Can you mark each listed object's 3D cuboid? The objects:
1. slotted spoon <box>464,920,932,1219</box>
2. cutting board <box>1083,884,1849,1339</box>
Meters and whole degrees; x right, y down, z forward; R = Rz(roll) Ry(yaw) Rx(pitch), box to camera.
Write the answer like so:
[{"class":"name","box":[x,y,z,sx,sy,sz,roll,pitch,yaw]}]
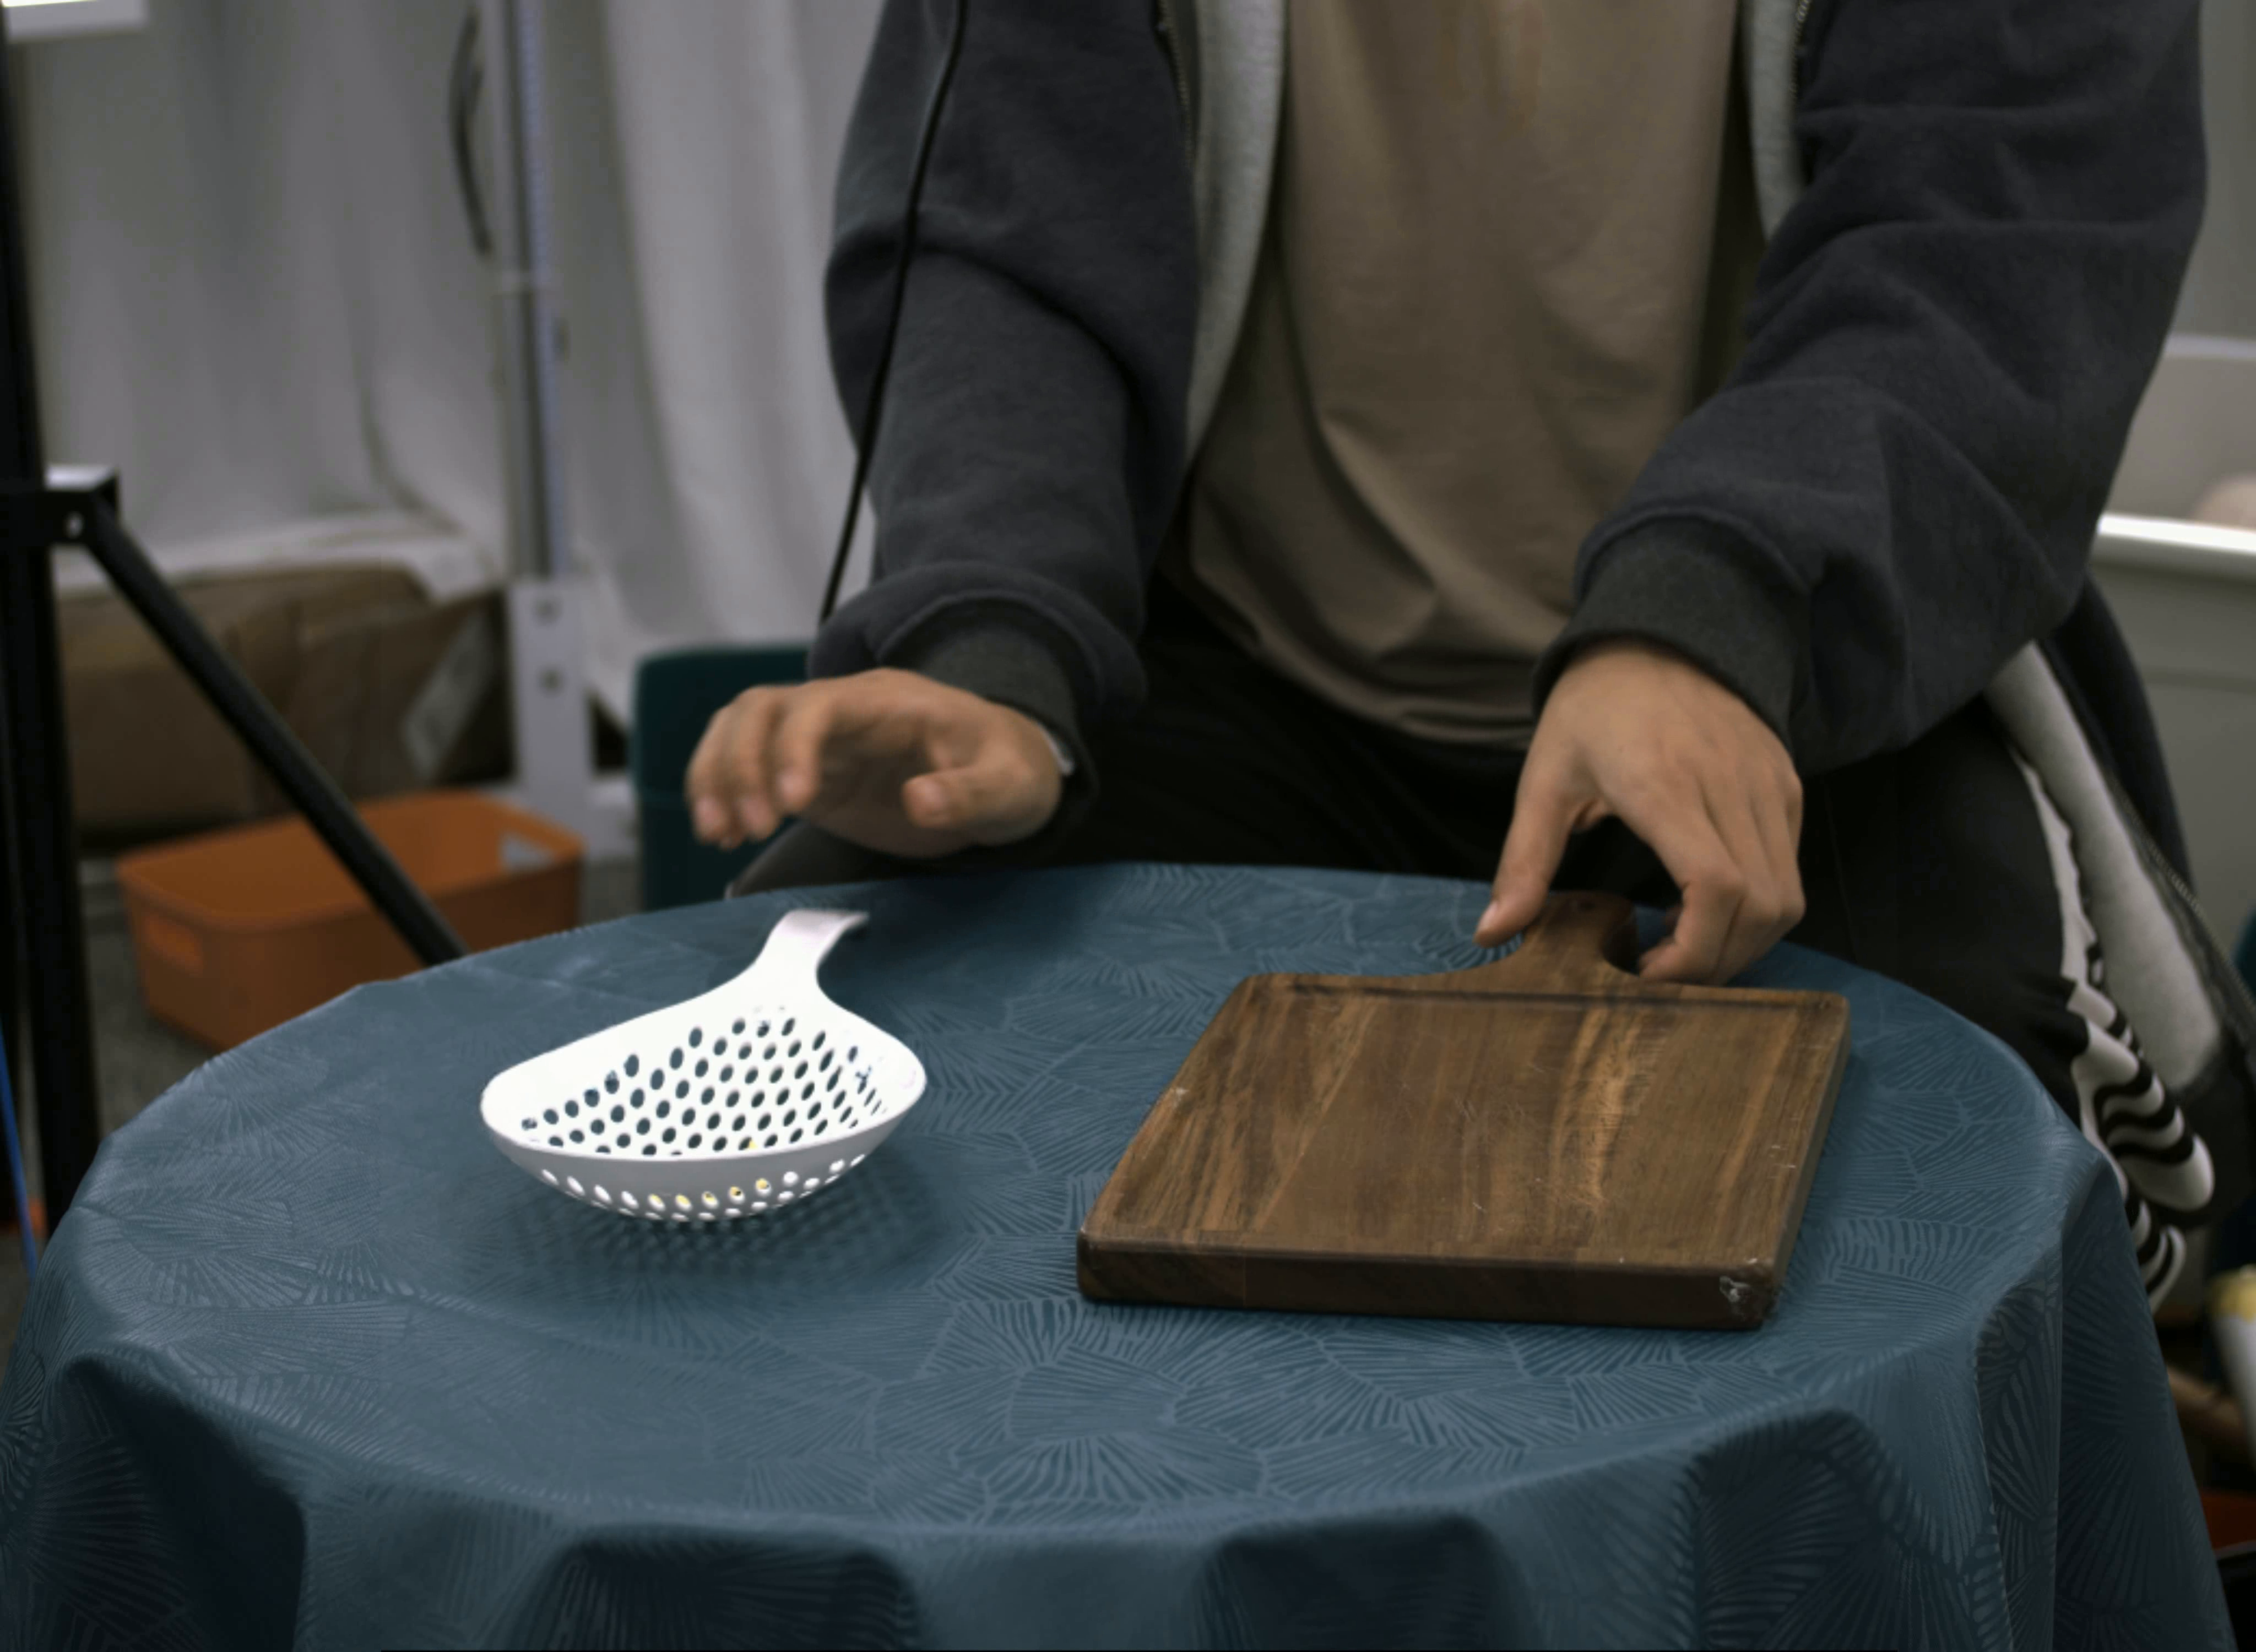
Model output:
[{"class":"slotted spoon","box":[-0.114,0.062,1.665,0.137,0.050,0.348,-3,16,6]},{"class":"cutting board","box":[0.116,0.078,1.607,0.202,0.023,0.350,2,17,13]}]
